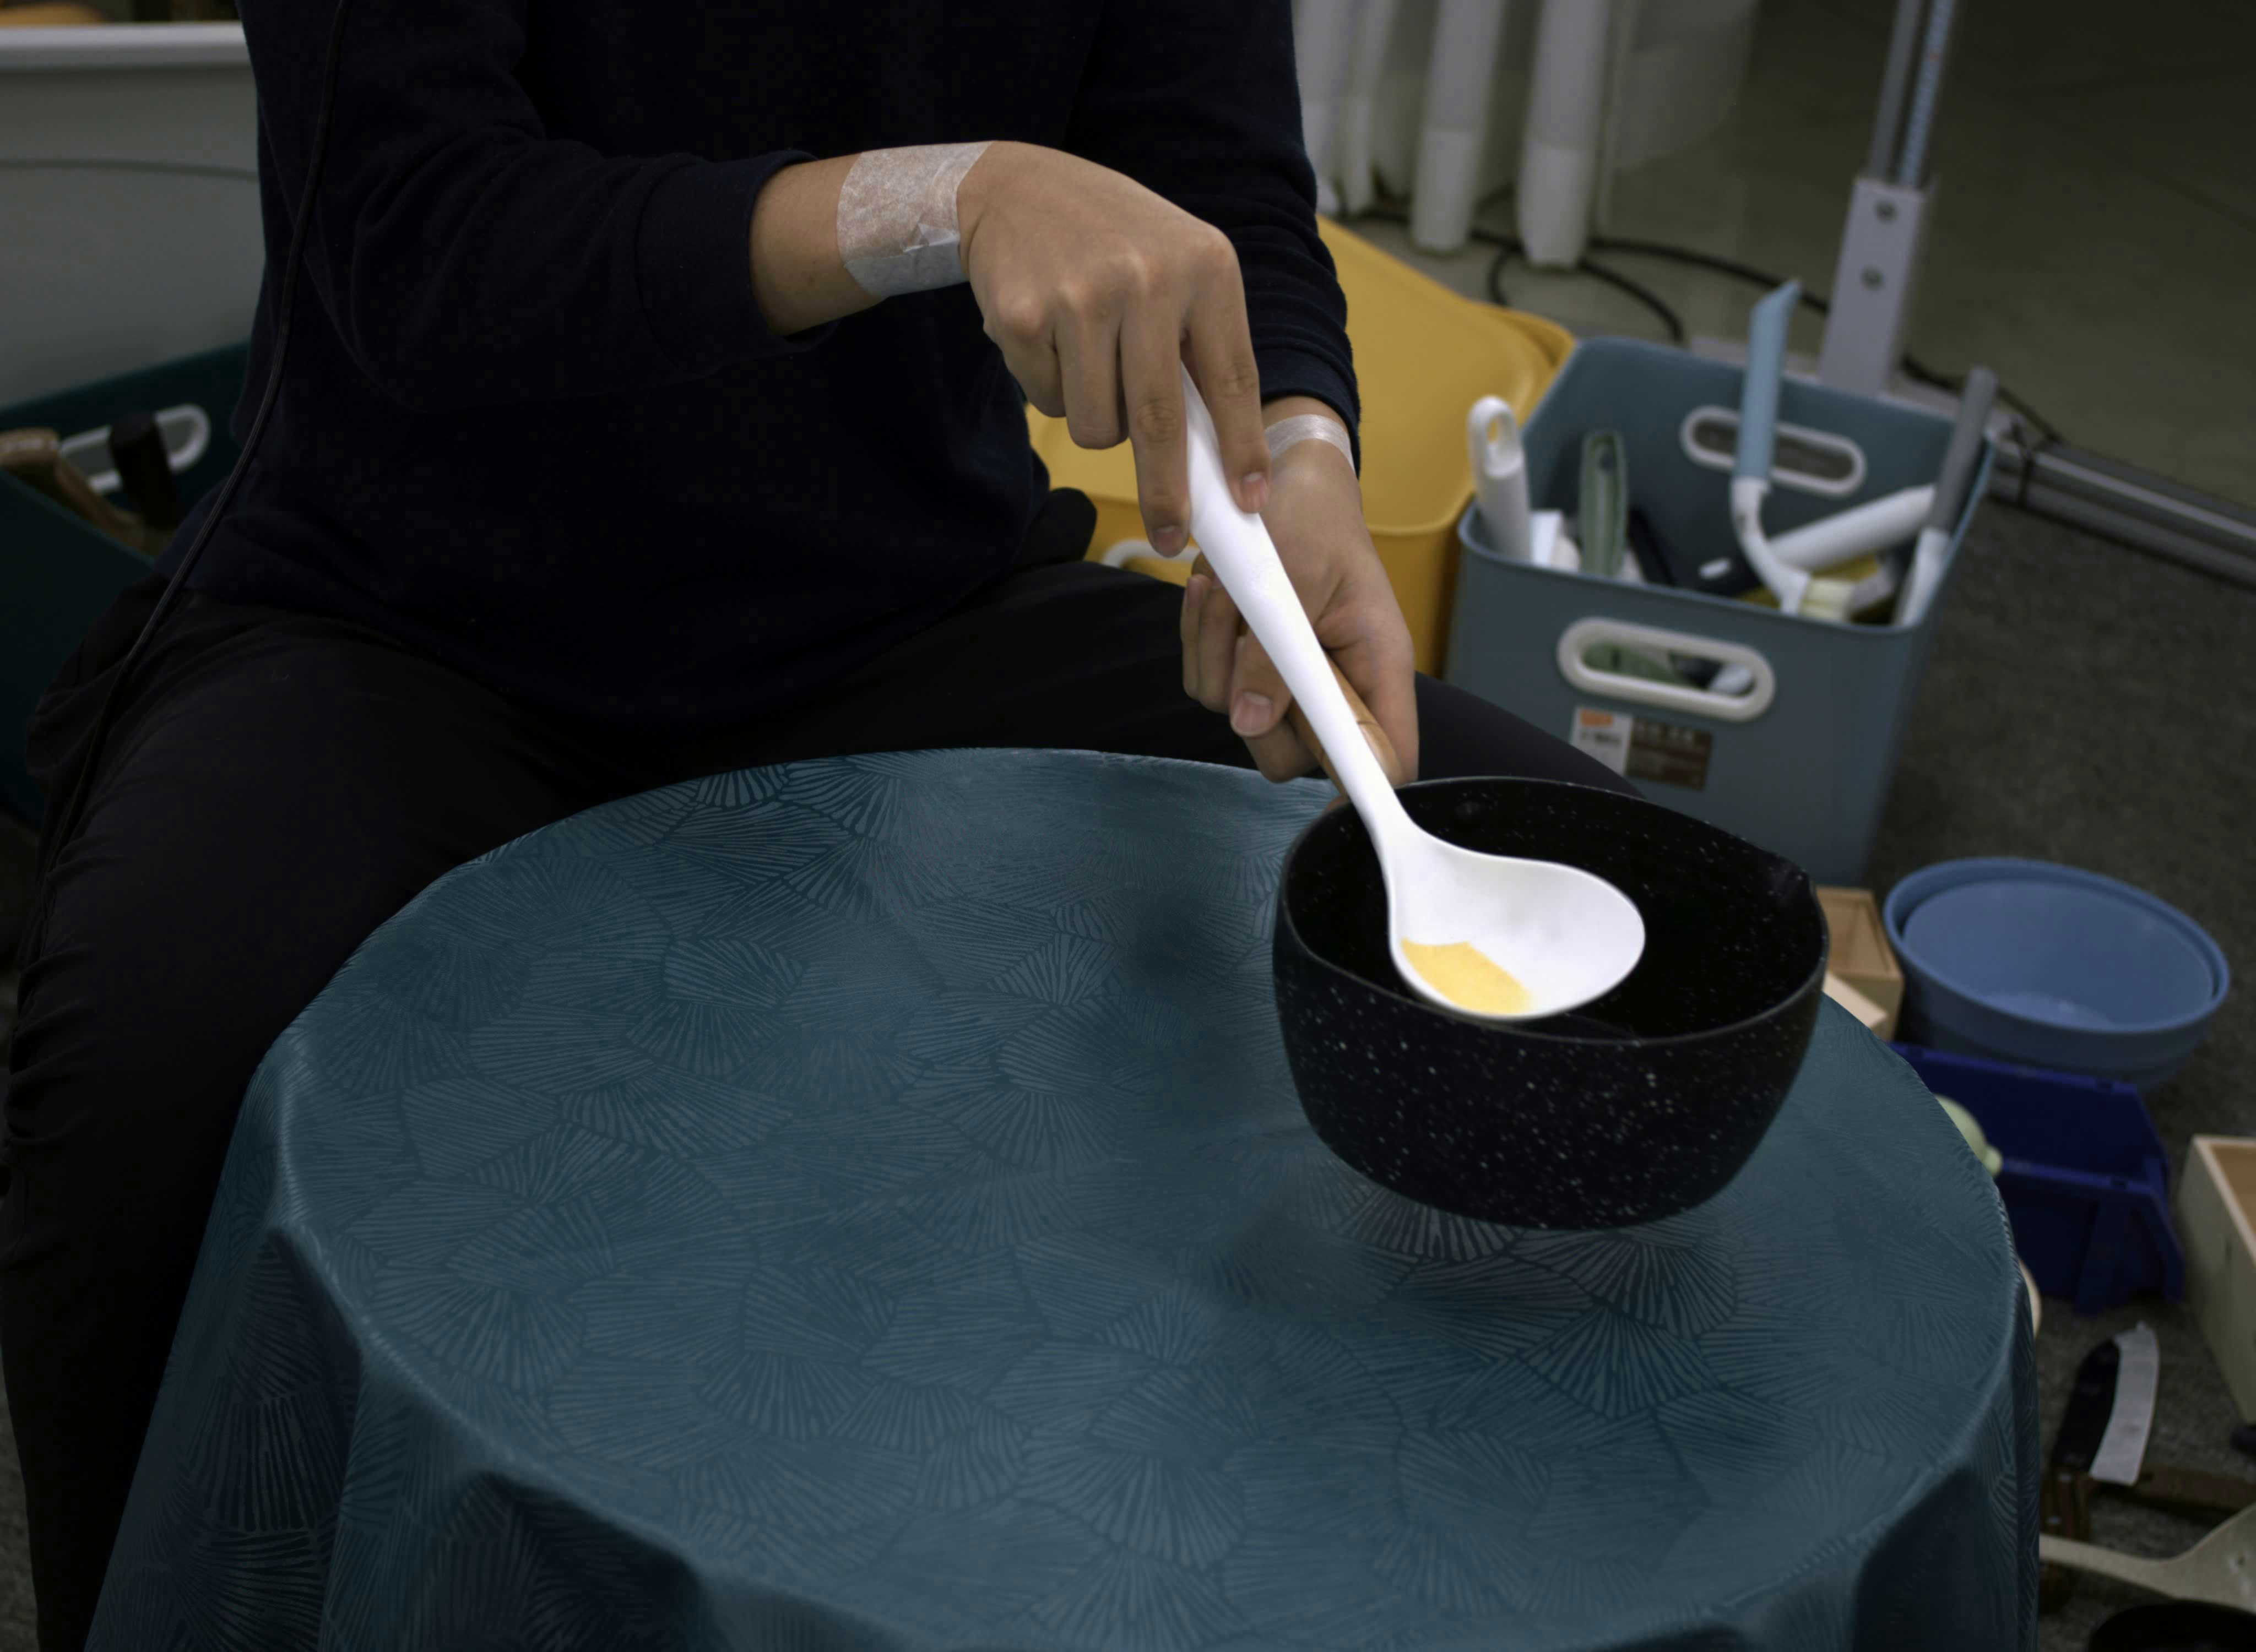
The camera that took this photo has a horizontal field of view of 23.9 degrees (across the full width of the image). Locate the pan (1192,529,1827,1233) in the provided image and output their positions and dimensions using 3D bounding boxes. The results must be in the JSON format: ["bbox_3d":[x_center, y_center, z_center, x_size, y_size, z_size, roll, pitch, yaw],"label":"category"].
[{"bbox_3d":[0.100,0.015,1.835,0.206,0.108,0.346,-9,32,-26],"label":"pan"}]

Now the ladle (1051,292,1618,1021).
[{"bbox_3d":[0.062,-0.055,1.795,0.090,0.070,0.294,-26,82,-22],"label":"ladle"}]
